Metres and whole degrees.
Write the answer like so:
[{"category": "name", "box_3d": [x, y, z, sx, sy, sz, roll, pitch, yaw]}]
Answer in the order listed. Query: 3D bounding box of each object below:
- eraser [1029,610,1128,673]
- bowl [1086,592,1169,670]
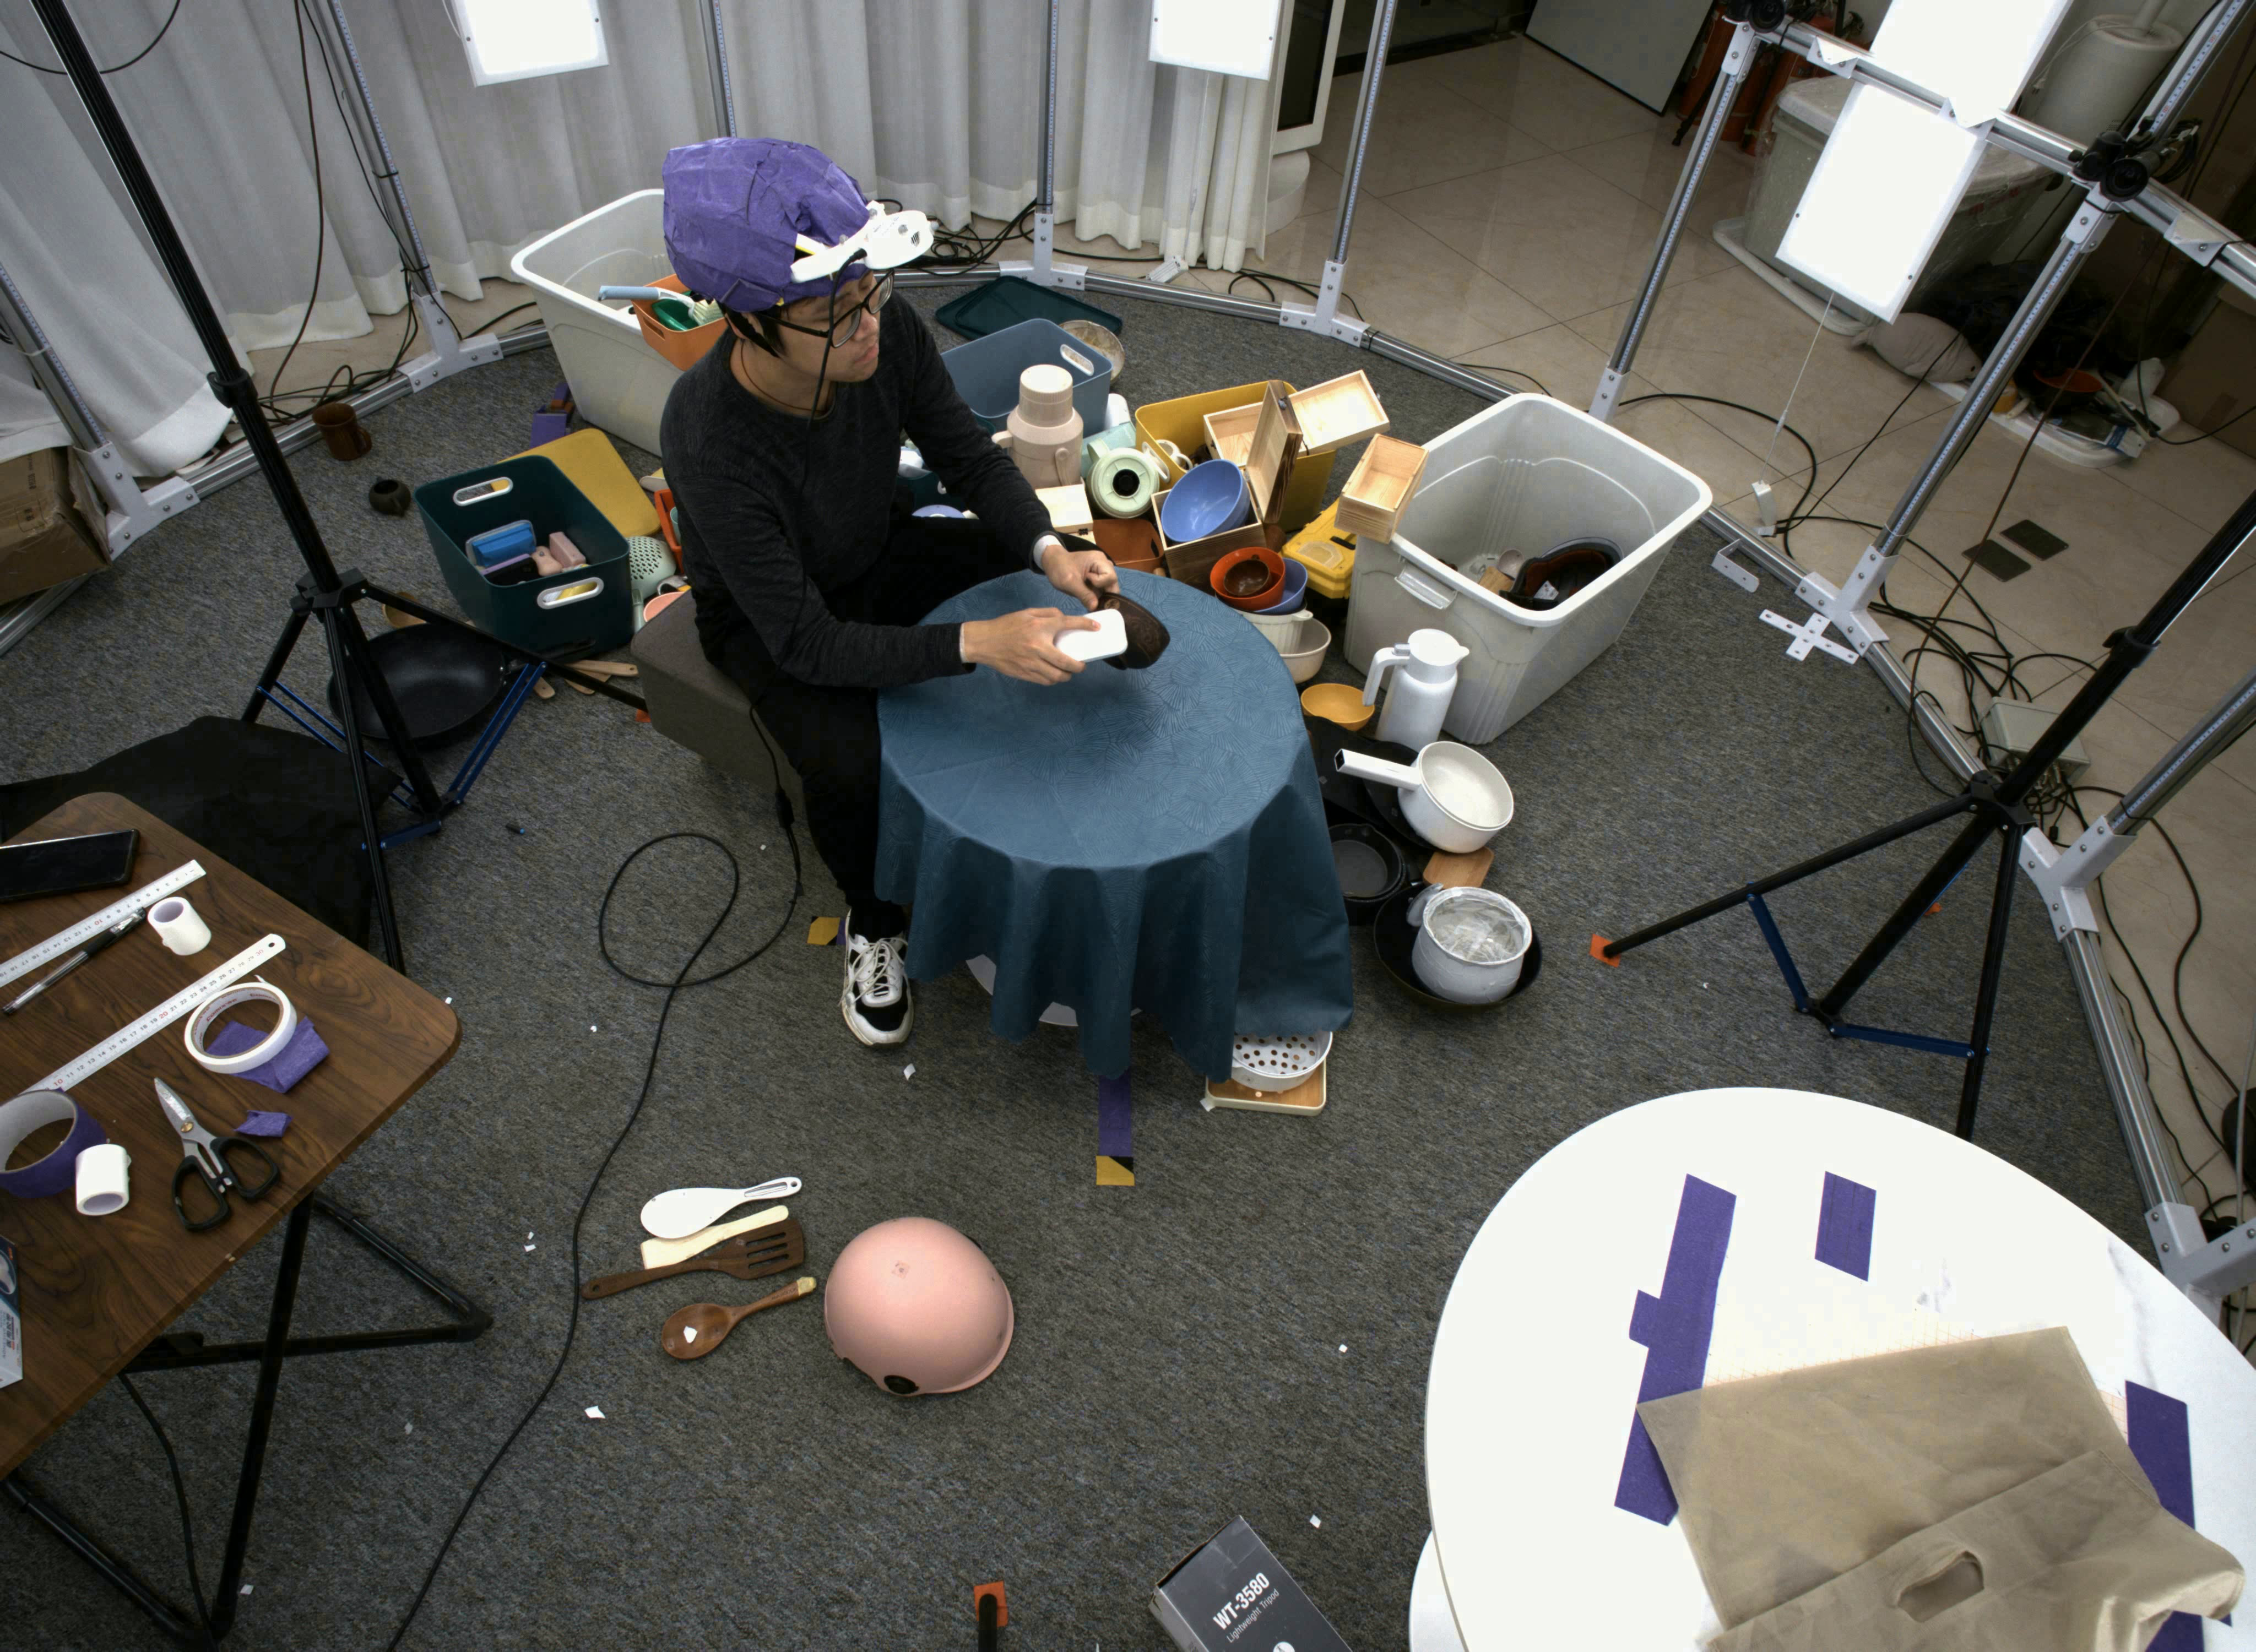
[{"category": "eraser", "box_3d": [-0.066, -0.246, 1.712, 0.131, 0.034, 0.064, -11, 77, 14]}, {"category": "bowl", "box_3d": [-0.009, -0.259, 1.770, 0.119, 0.116, 0.070, 30, 78, 19]}]
